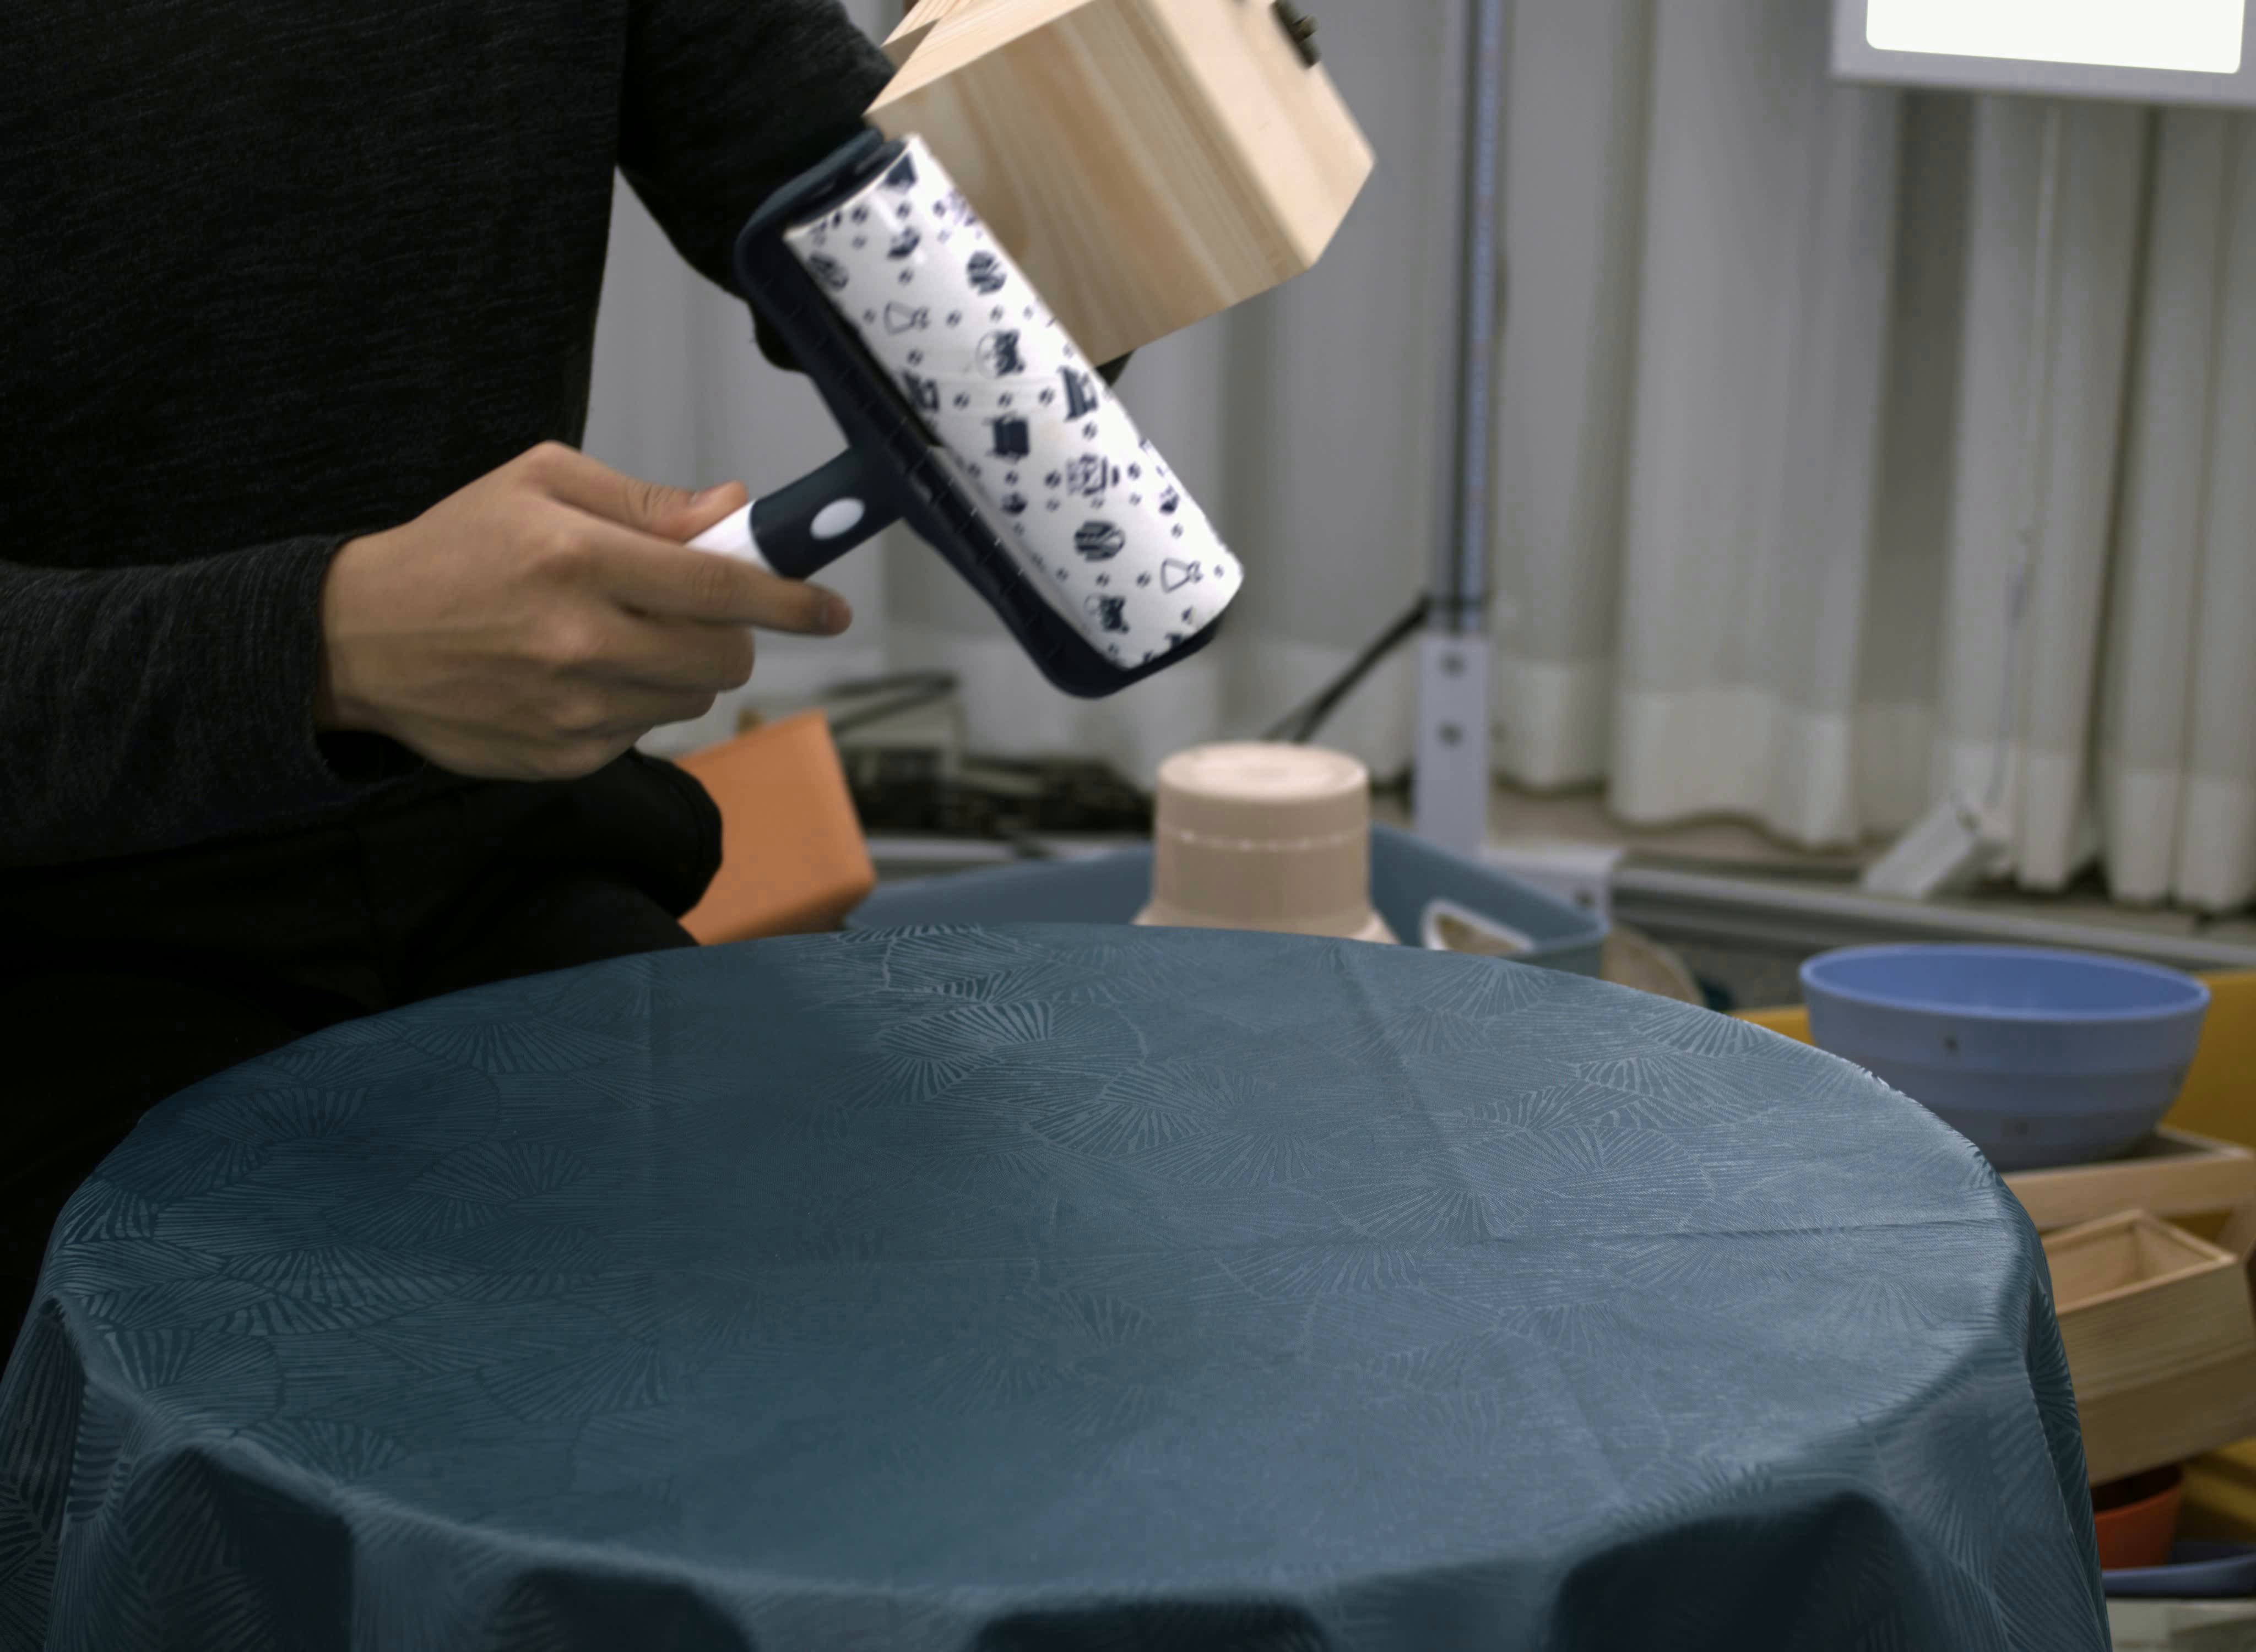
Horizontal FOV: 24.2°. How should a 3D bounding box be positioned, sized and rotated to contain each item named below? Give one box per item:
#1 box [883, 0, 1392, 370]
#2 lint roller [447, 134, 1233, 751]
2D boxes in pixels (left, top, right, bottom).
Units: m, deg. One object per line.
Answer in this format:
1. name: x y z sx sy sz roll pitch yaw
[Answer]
1. box: 0.011 -0.233 1.617 0.133 0.103 0.184 -23 20 28
2. lint roller: -0.110 -0.075 1.537 0.246 0.178 0.050 -29 21 29
